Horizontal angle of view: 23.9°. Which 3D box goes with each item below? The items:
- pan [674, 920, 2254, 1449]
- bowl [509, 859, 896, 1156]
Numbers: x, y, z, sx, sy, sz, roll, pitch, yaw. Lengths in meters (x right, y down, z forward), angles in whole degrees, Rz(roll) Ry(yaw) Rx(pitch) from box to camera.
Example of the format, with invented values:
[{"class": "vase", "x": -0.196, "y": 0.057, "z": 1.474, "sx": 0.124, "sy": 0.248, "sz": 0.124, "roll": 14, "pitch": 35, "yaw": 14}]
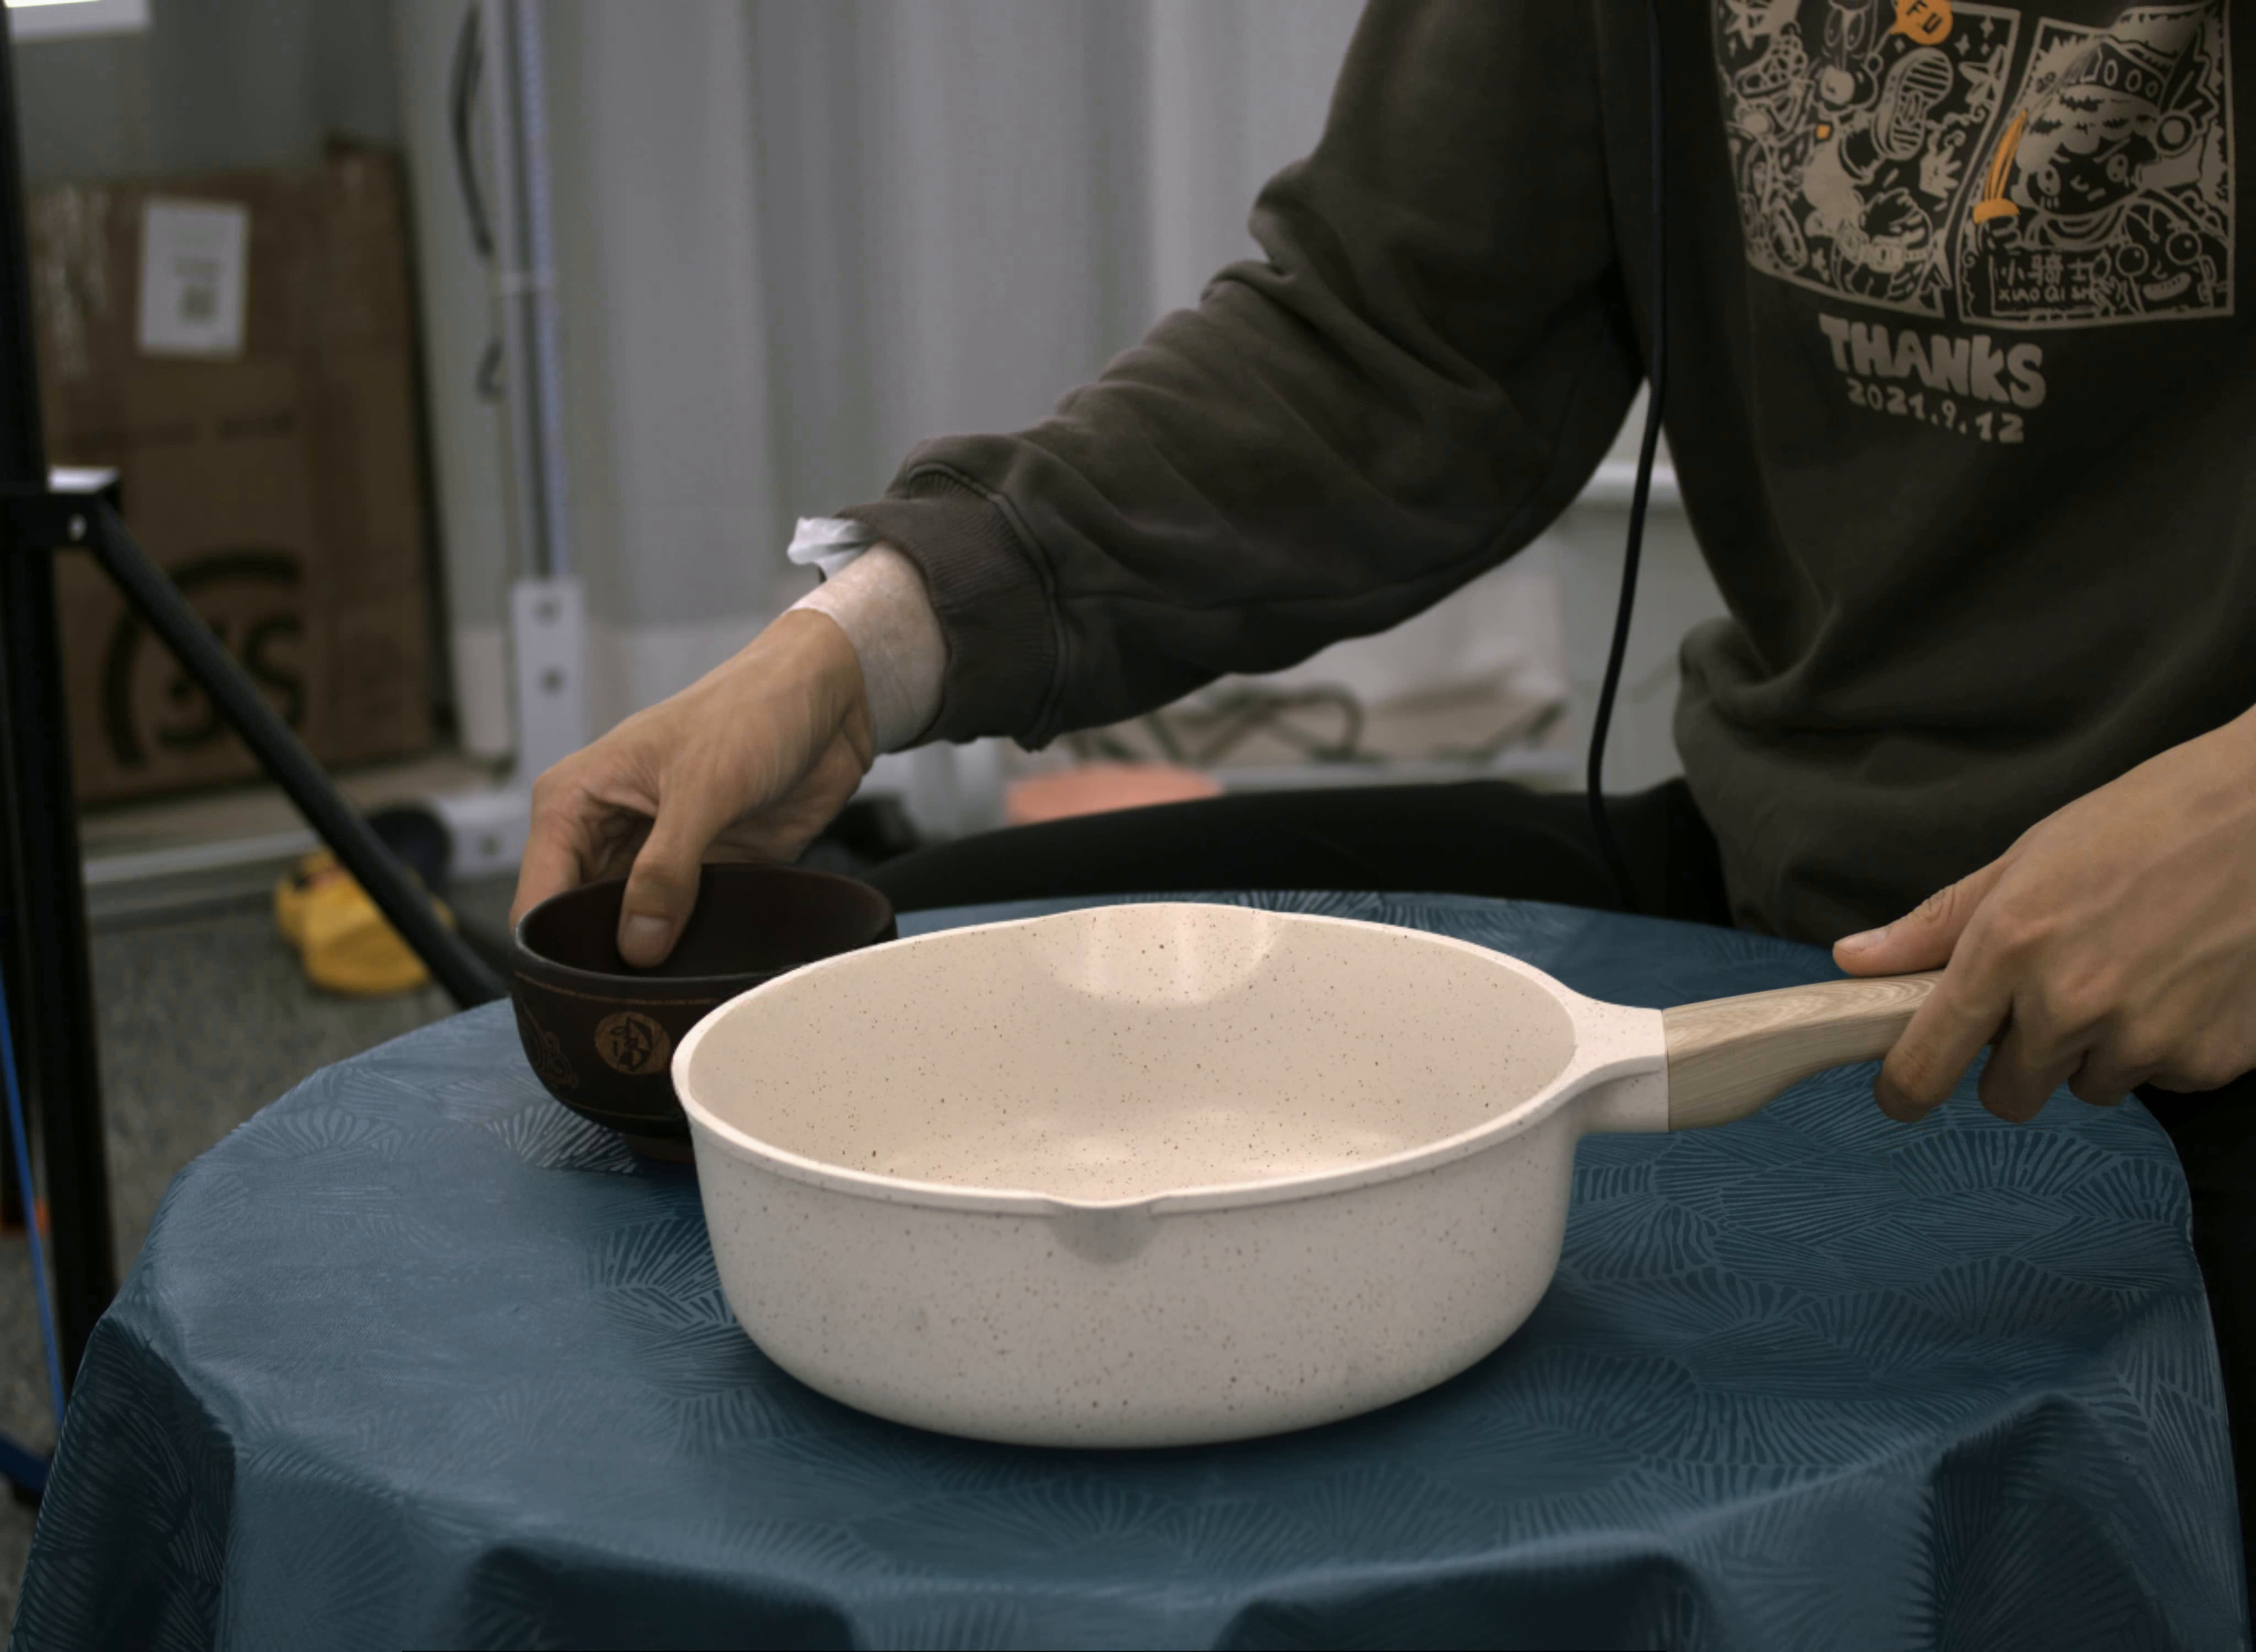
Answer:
[{"class": "pan", "x": 0.095, "y": 0.089, "z": 1.433, "sx": 0.434, "sy": 0.102, "sz": 0.263, "roll": -1, "pitch": 14, "yaw": 5}, {"class": "bowl", "x": -0.128, "y": 0.059, "z": 1.624, "sx": 0.117, "sy": 0.070, "sz": 0.118, "roll": -3, "pitch": 15, "yaw": -1}]
